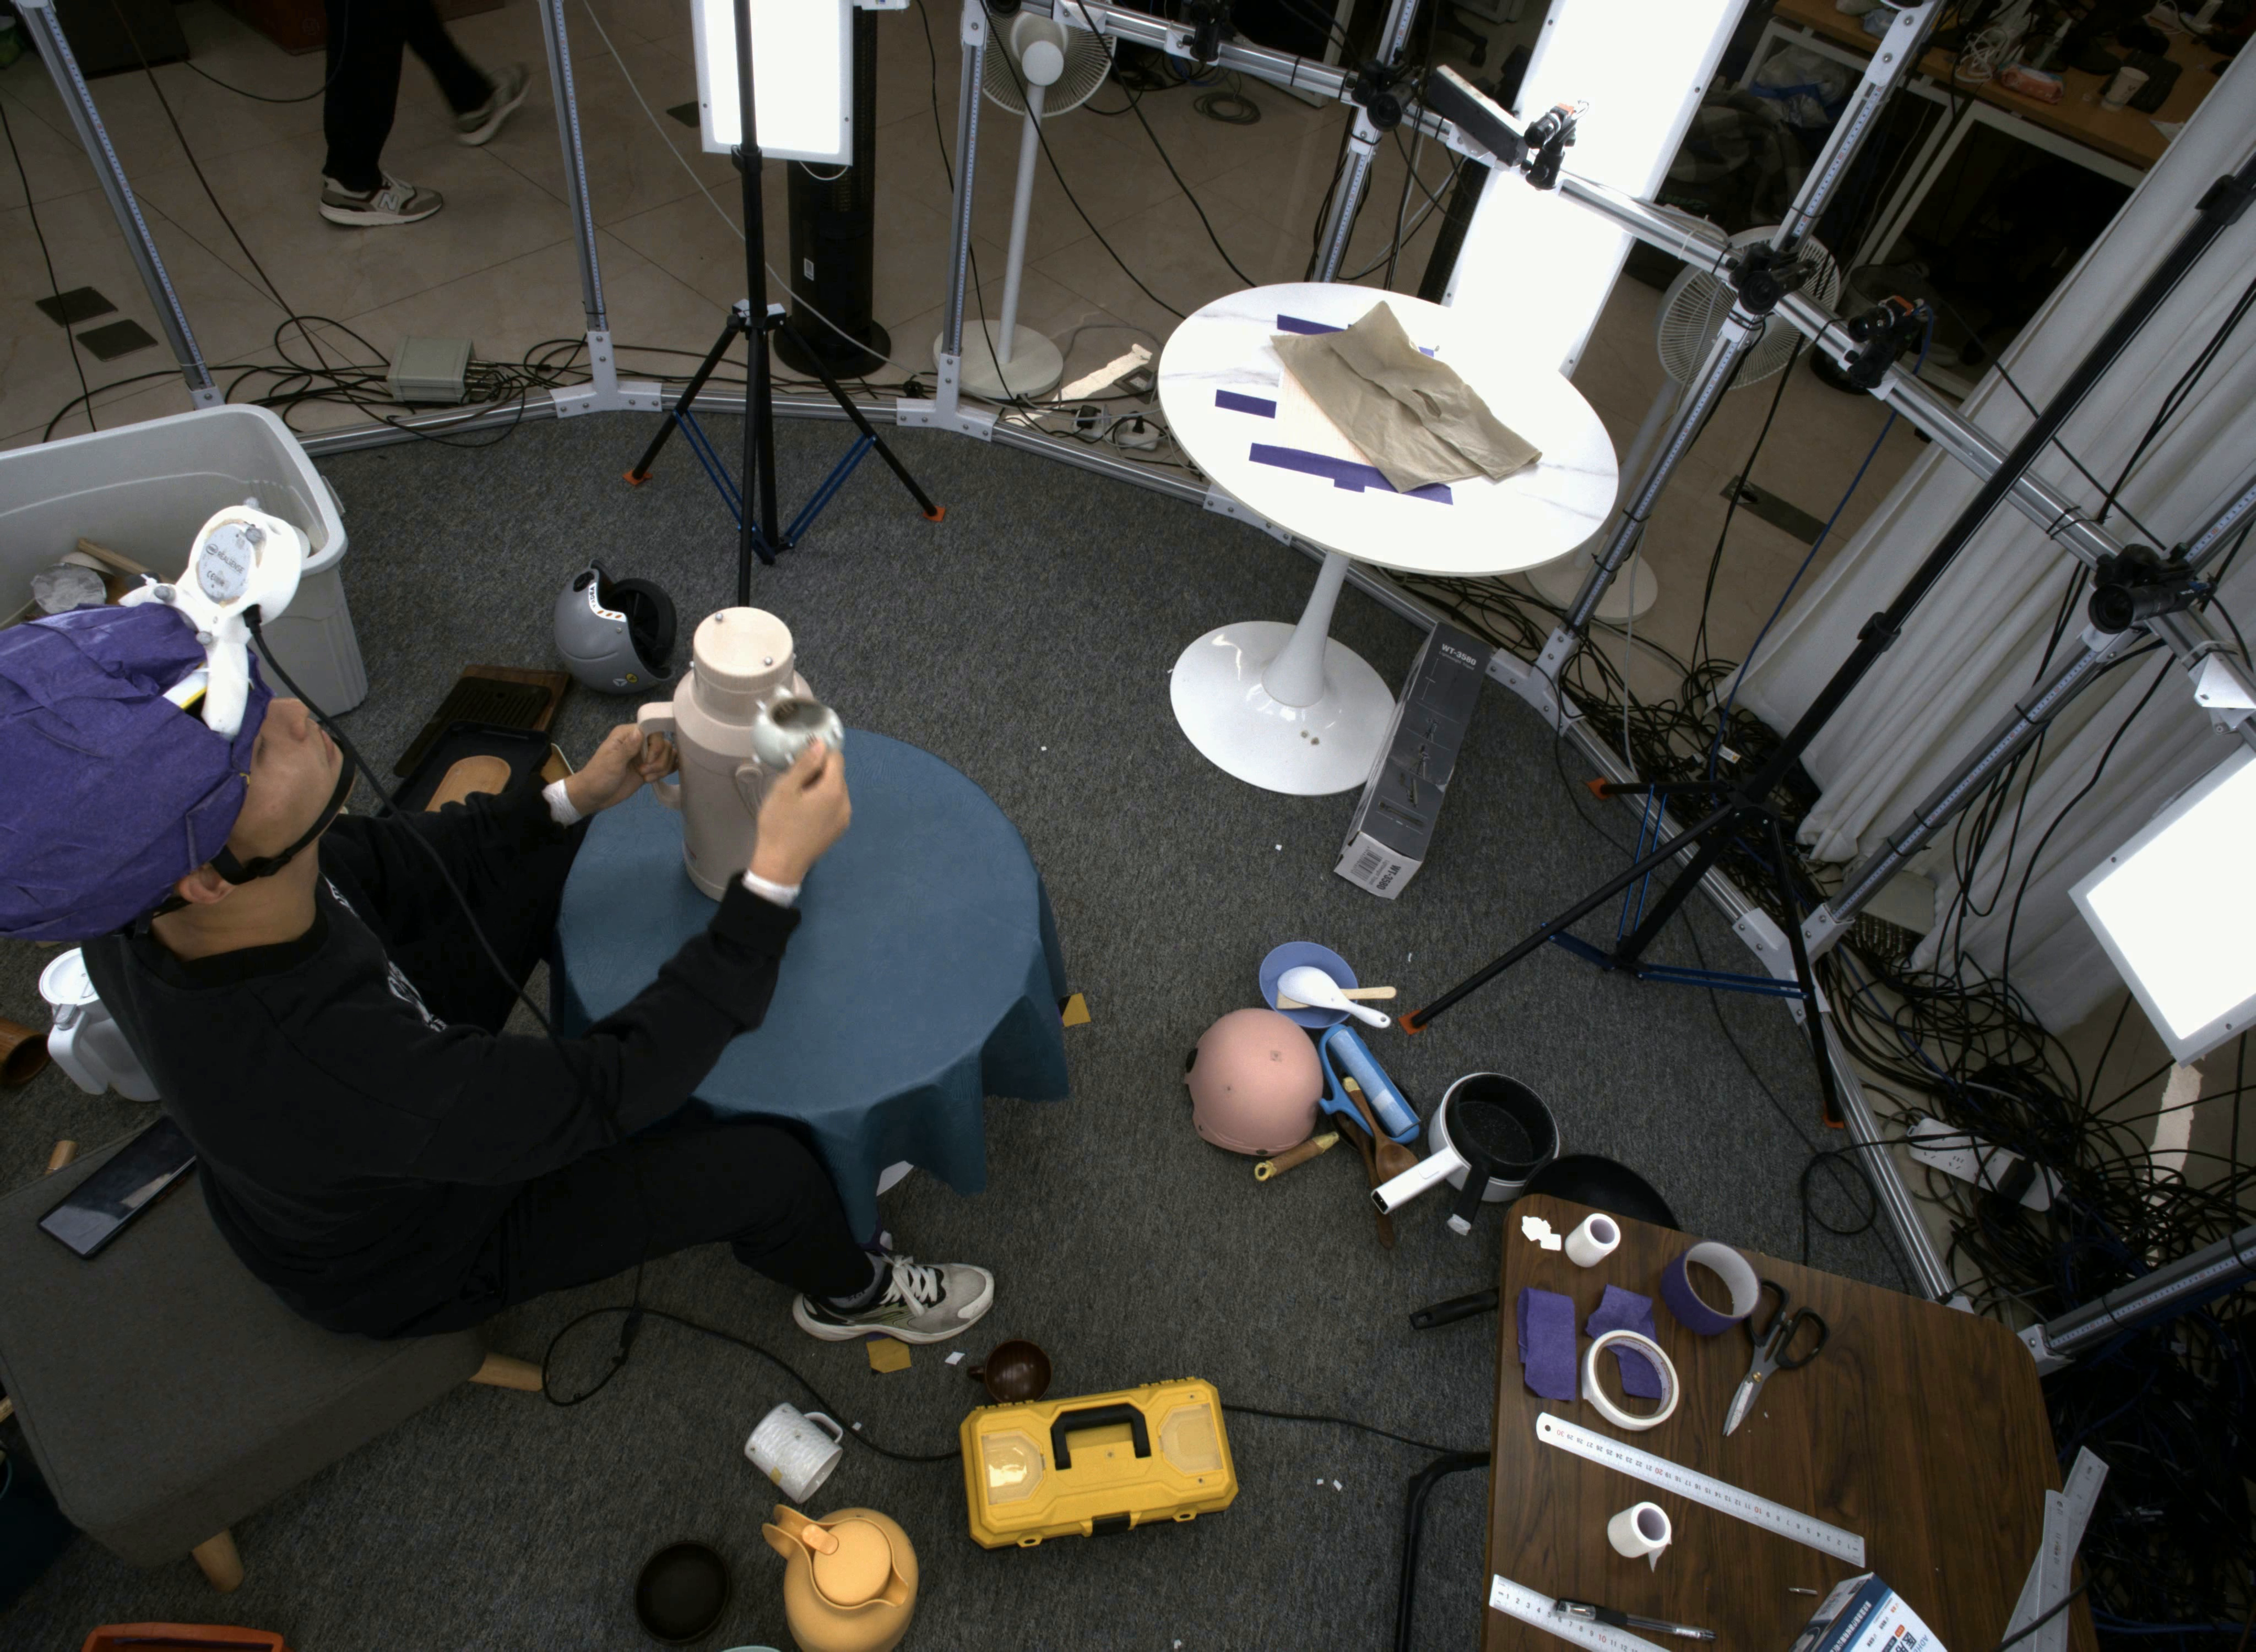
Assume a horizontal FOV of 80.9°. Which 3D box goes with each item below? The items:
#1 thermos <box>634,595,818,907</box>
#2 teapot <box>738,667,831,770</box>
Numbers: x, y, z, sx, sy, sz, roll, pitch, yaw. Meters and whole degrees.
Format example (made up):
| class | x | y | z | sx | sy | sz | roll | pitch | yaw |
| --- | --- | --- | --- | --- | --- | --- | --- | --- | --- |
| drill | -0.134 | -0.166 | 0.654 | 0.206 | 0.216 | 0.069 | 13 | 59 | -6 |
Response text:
| class | x | y | z | sx | sy | sz | roll | pitch | yaw |
| --- | --- | --- | --- | --- | --- | --- | --- | --- | --- |
| thermos | -0.468 | -0.084 | 1.512 | 0.208 | 0.413 | 0.171 | -6 | 56 | -19 |
| teapot | -0.339 | -0.104 | 1.293 | 0.093 | 0.061 | 0.123 | -15 | 46 | -34 |
